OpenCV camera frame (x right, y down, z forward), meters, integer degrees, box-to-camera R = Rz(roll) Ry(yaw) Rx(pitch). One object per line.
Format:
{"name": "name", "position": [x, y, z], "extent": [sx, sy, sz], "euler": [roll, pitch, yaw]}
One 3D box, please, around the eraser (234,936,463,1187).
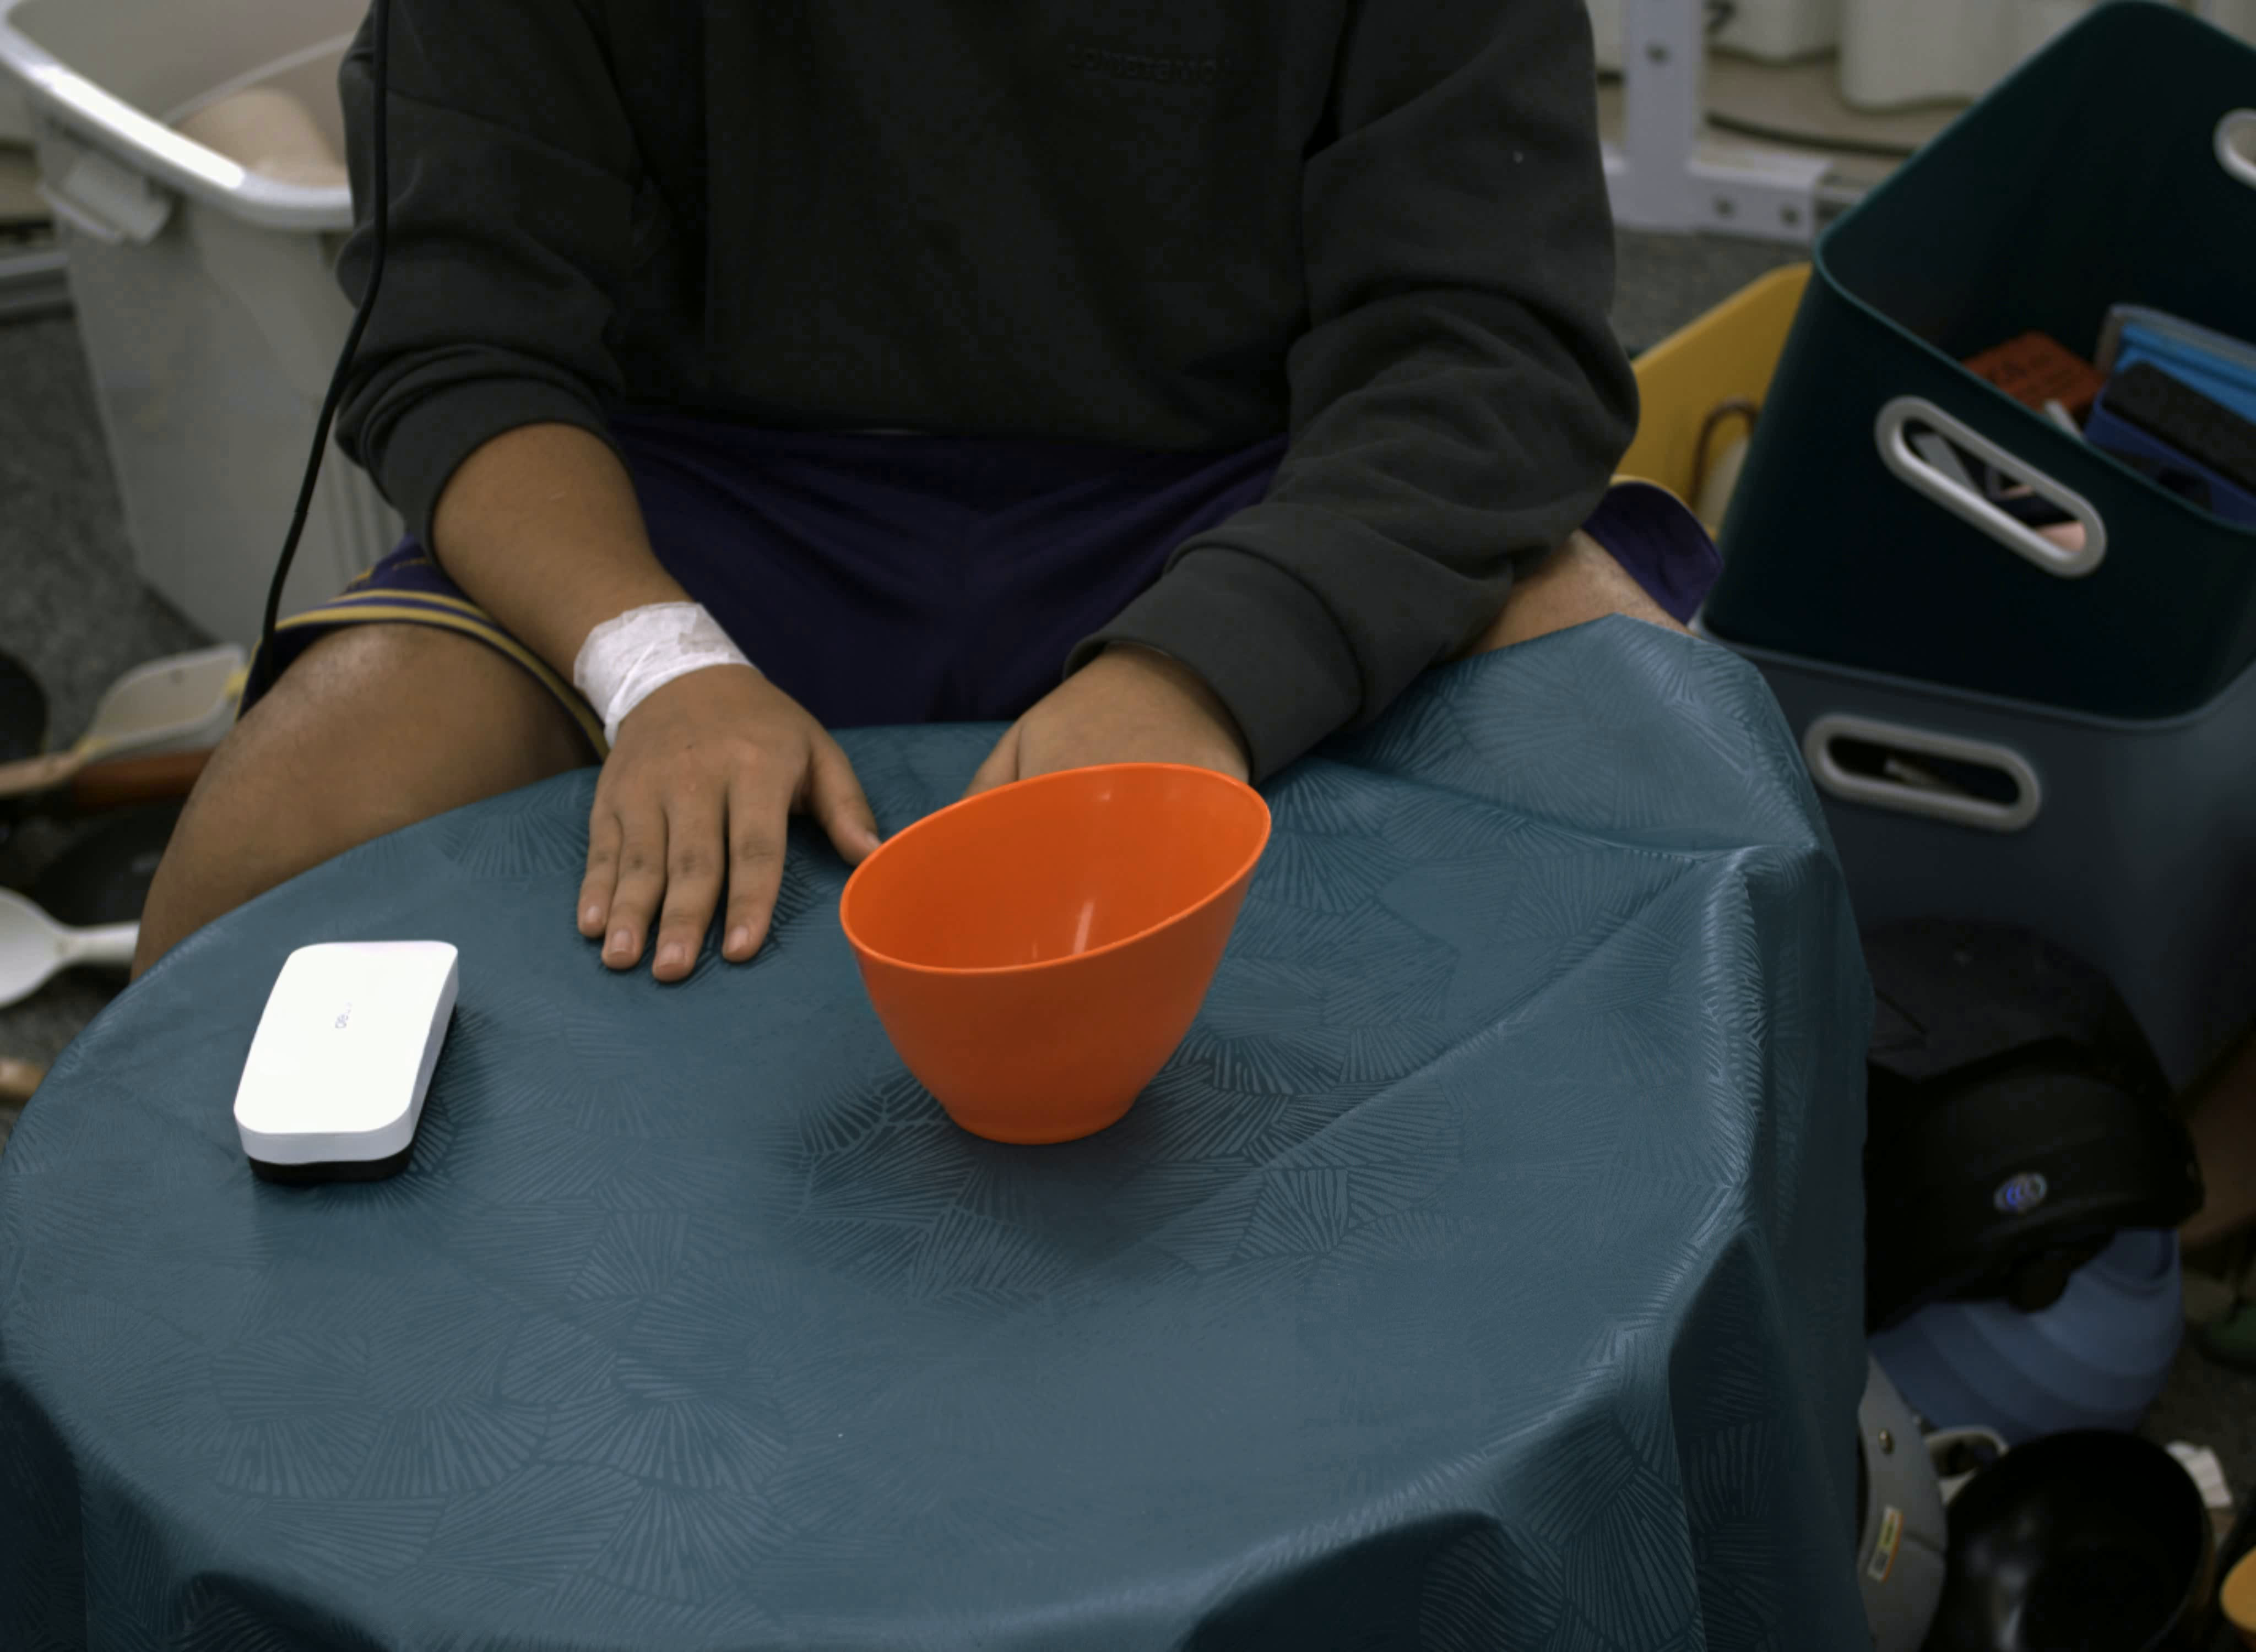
{"name": "eraser", "position": [-0.266, 0.078, 1.938], "extent": [0.063, 0.034, 0.133], "euler": [1, 29, 5]}

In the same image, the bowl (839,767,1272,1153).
{"name": "bowl", "position": [-0.022, 0.051, 1.895], "extent": [0.147, 0.103, 0.150], "euler": [-3, 27, 2]}
